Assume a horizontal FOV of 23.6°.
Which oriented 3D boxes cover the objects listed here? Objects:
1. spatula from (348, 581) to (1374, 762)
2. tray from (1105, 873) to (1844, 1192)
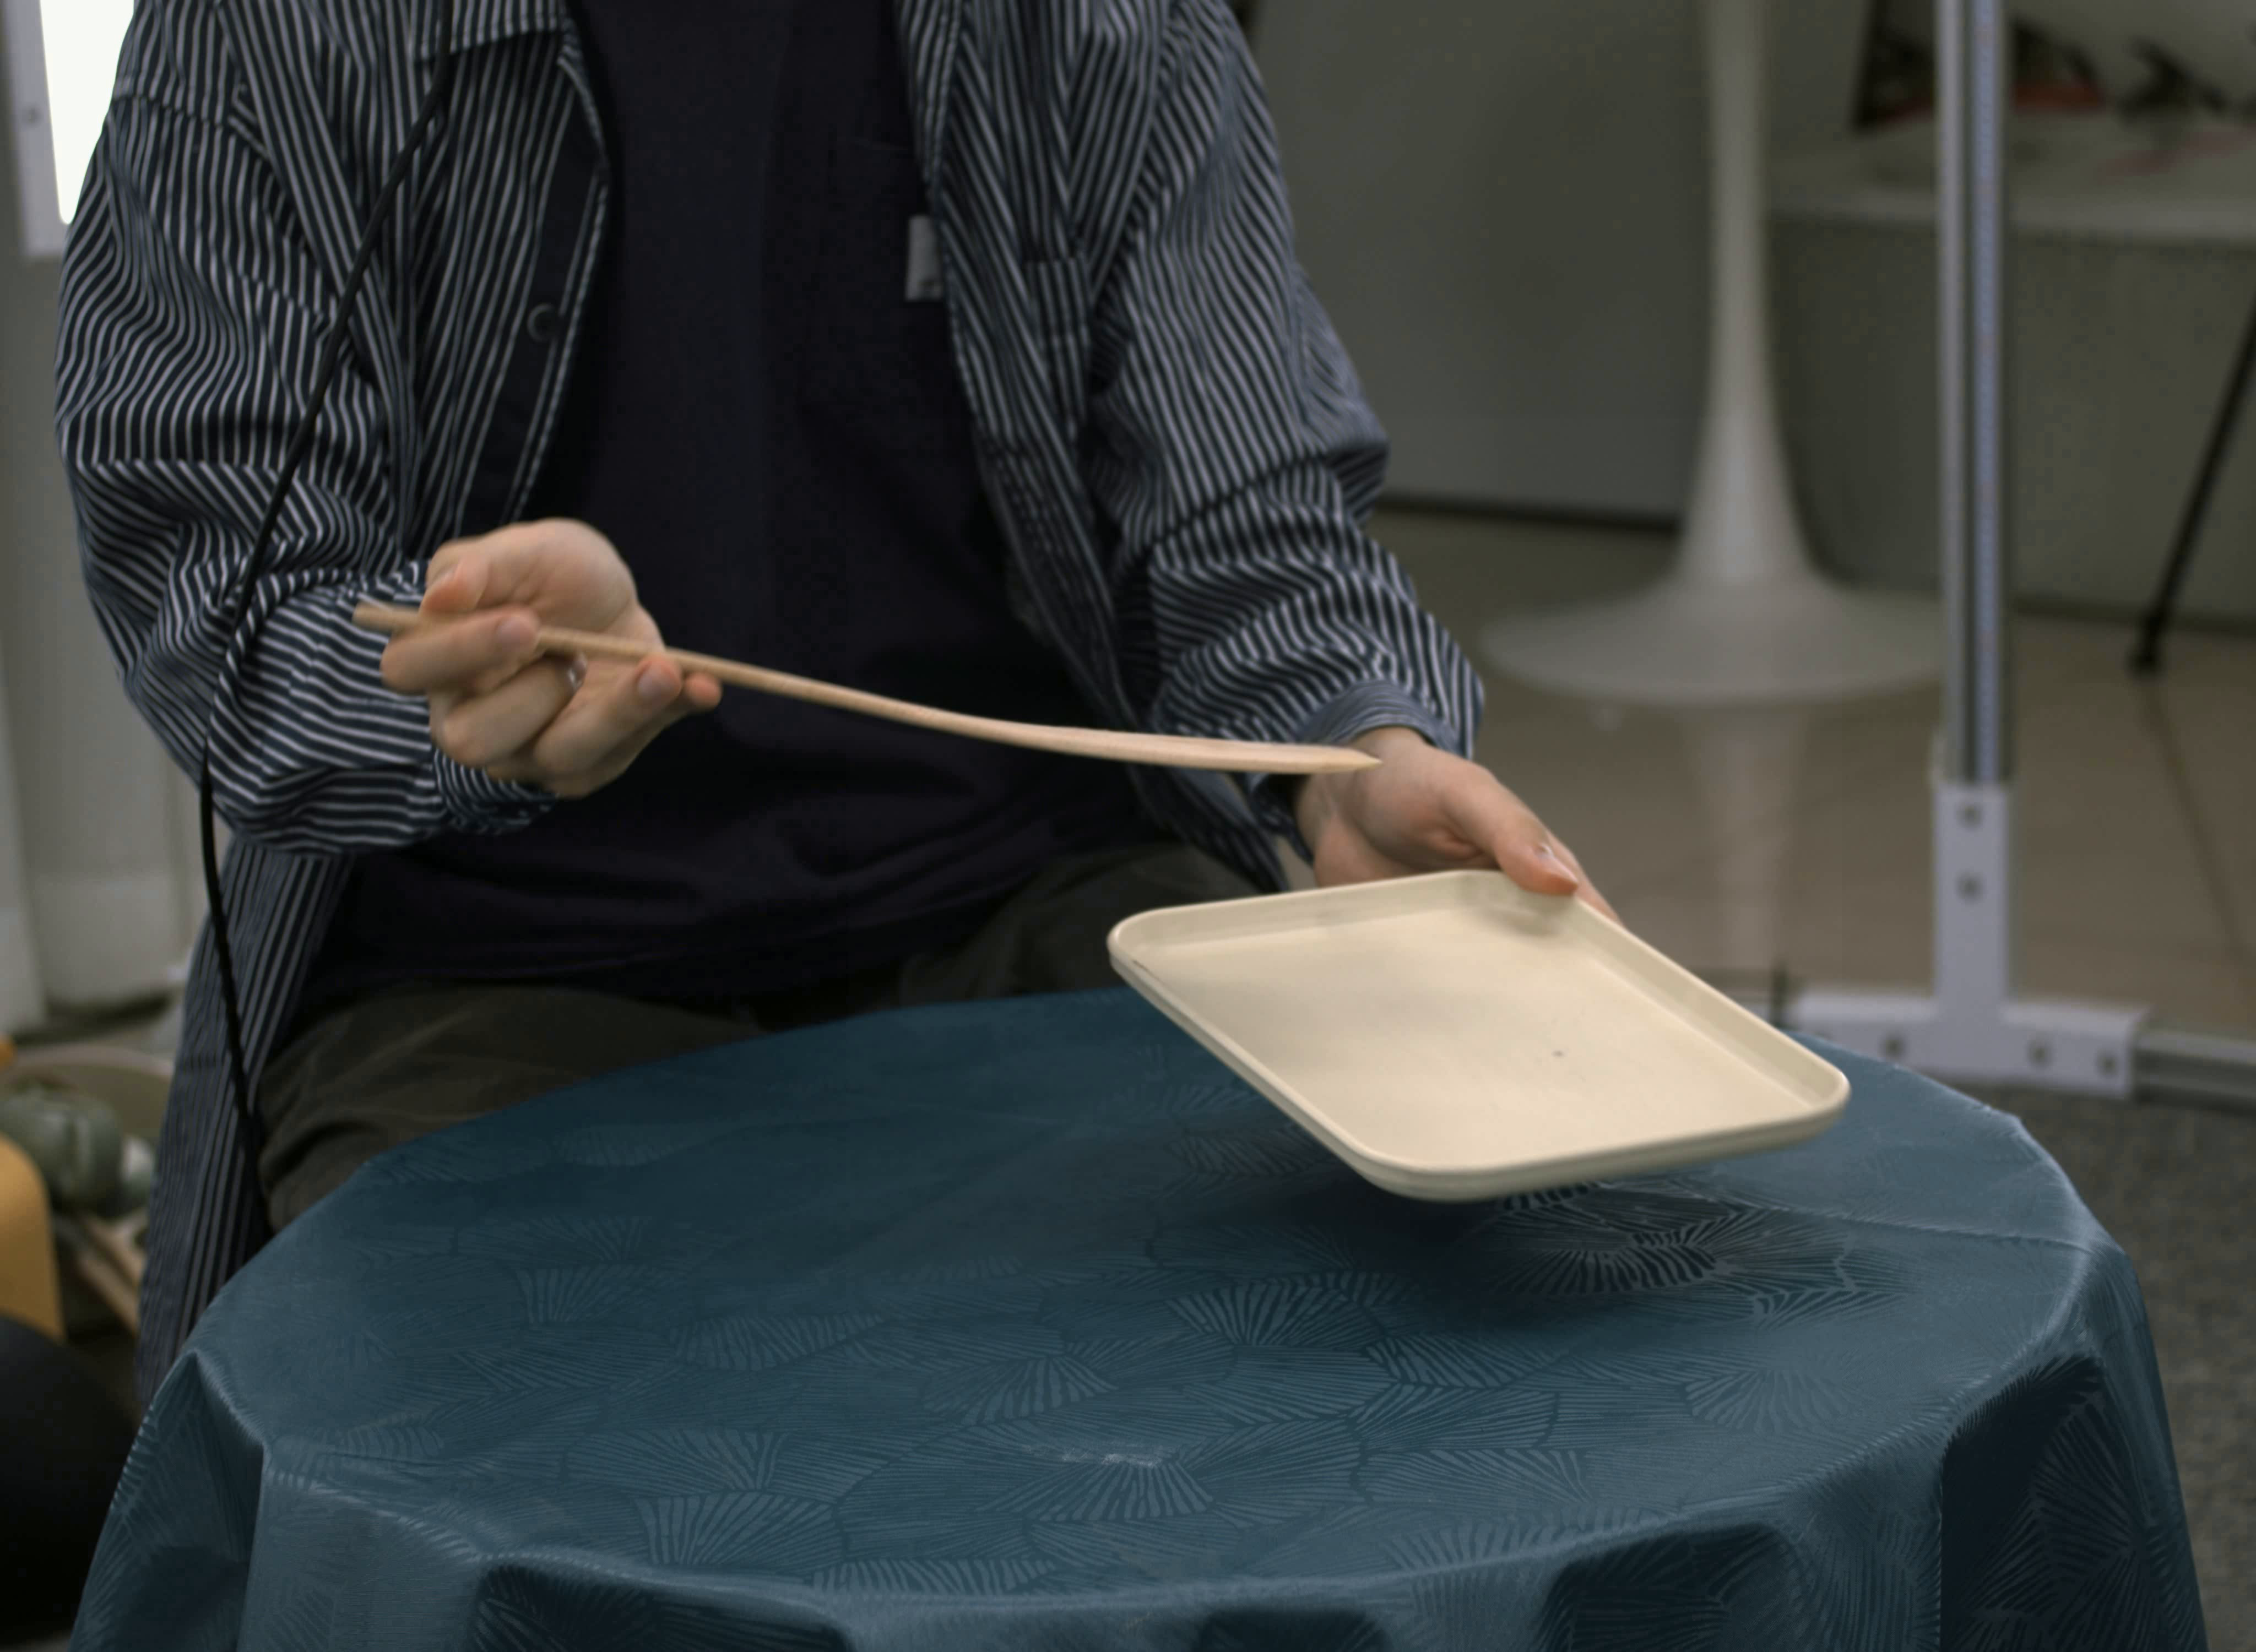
[{"bbox_3d":[-0.085,-0.047,1.708,0.323,0.017,0.080,11,1,-3],"label":"spatula"},{"bbox_3d":[0.106,0.064,1.712,0.167,0.017,0.242,-7,19,-22],"label":"tray"}]
